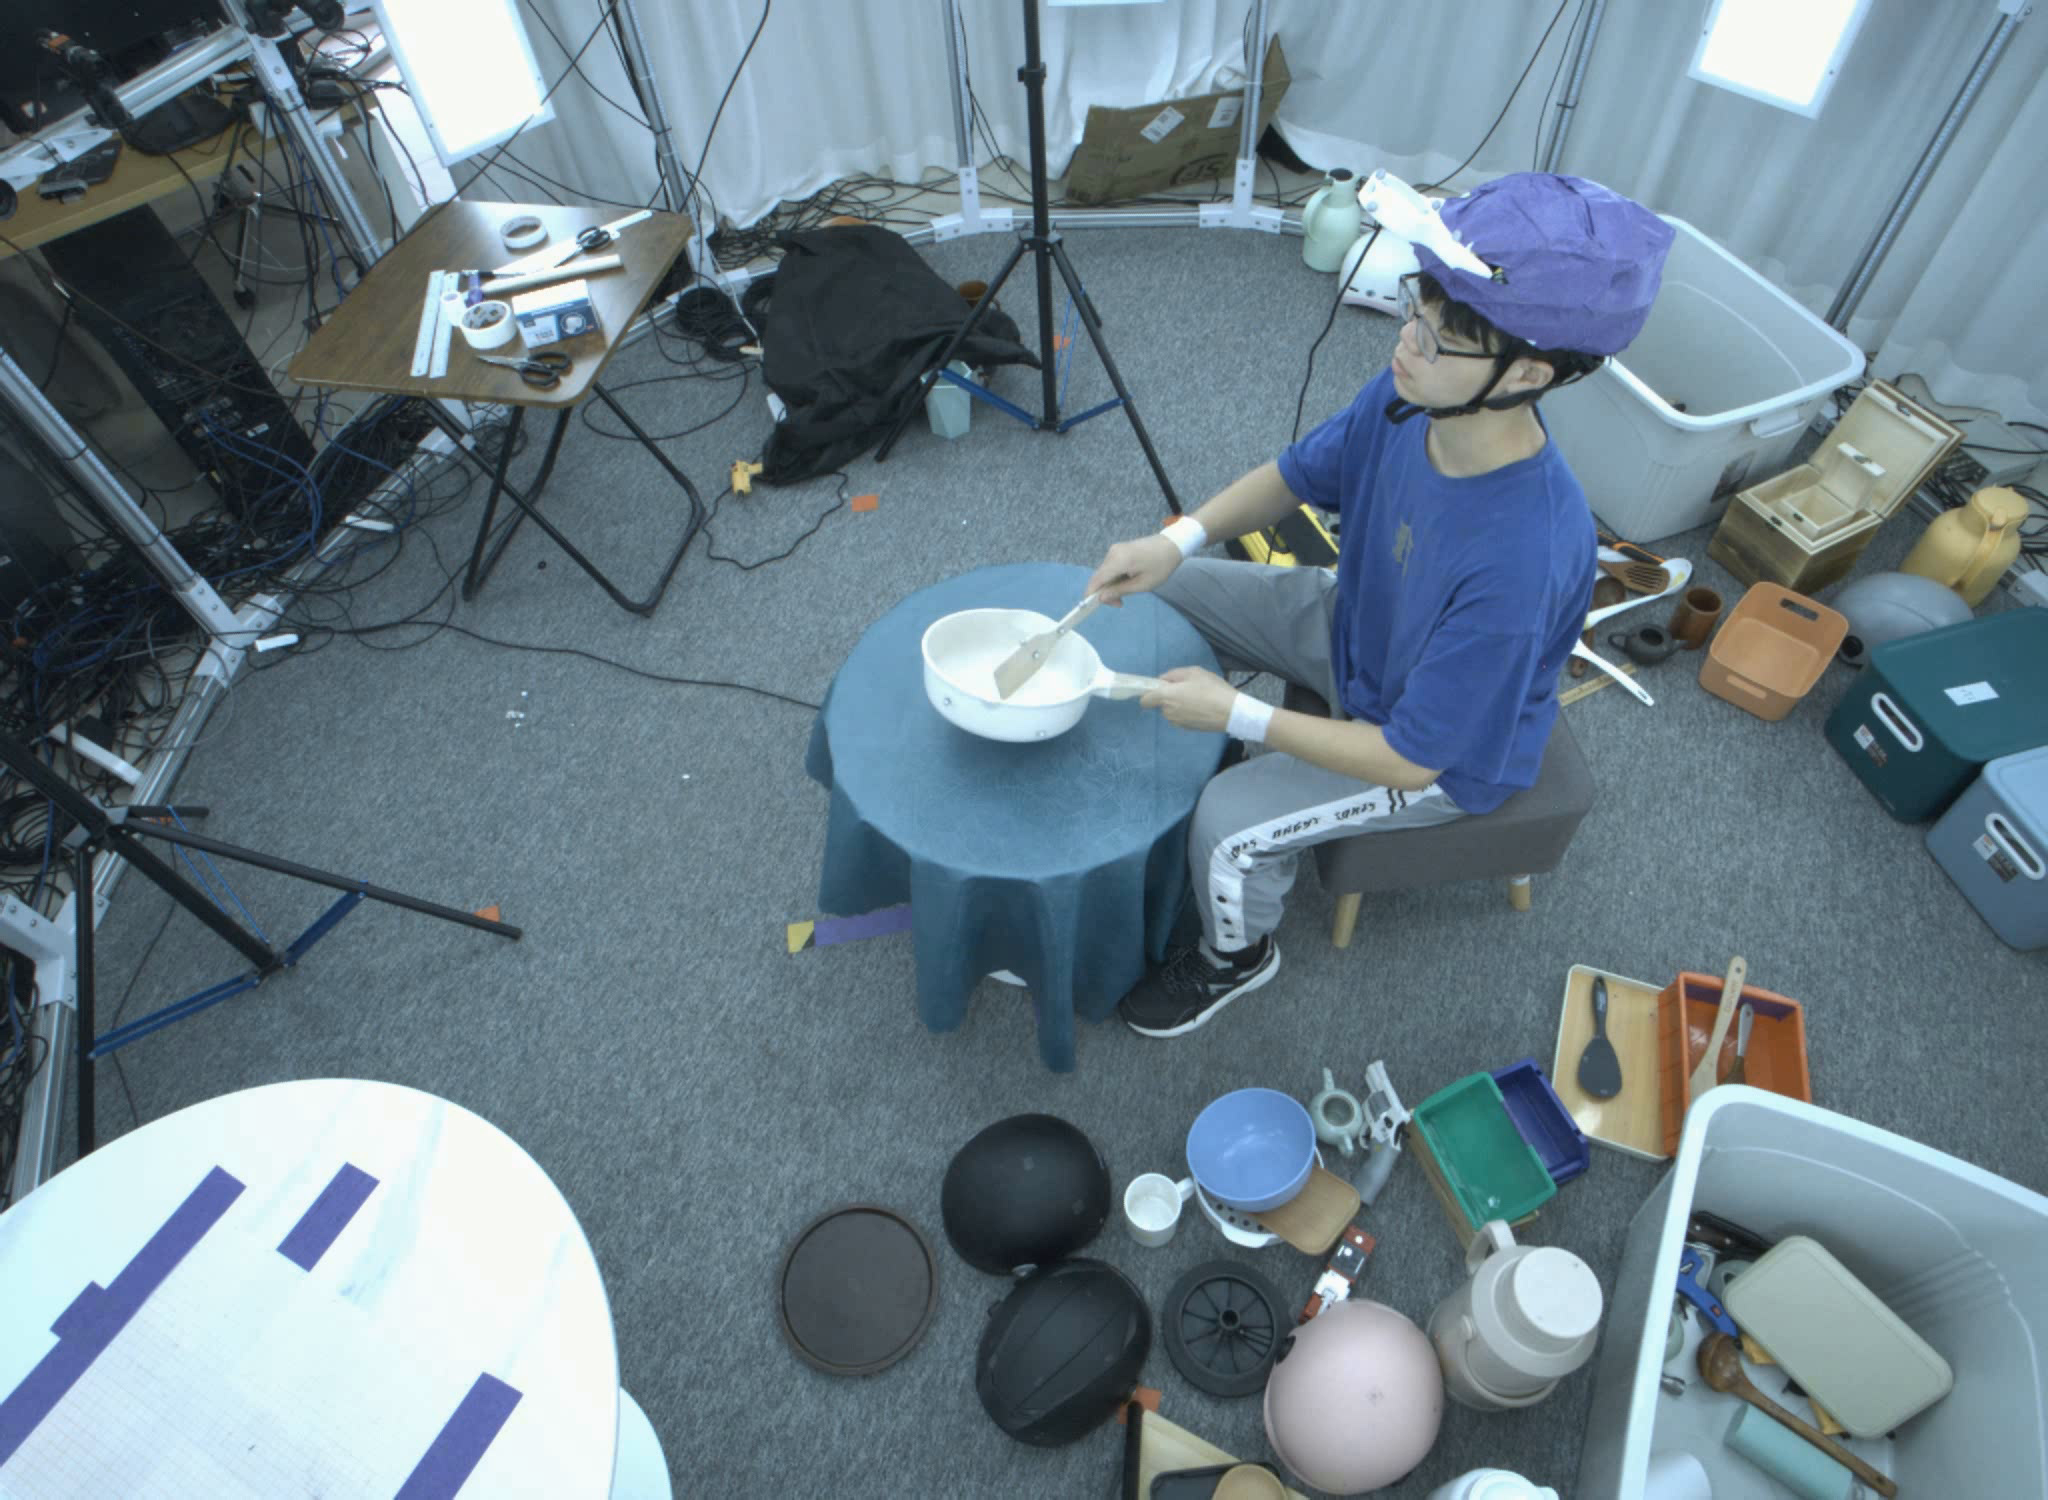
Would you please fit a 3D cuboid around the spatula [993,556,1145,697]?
[{"bbox_3d":[0.067,-0.182,1.724,0.294,0.073,0.010,-41,55,-18],"label":"spatula"}]

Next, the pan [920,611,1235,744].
[{"bbox_3d":[0.066,-0.082,1.700,0.434,0.102,0.262,14,33,2],"label":"pan"}]
